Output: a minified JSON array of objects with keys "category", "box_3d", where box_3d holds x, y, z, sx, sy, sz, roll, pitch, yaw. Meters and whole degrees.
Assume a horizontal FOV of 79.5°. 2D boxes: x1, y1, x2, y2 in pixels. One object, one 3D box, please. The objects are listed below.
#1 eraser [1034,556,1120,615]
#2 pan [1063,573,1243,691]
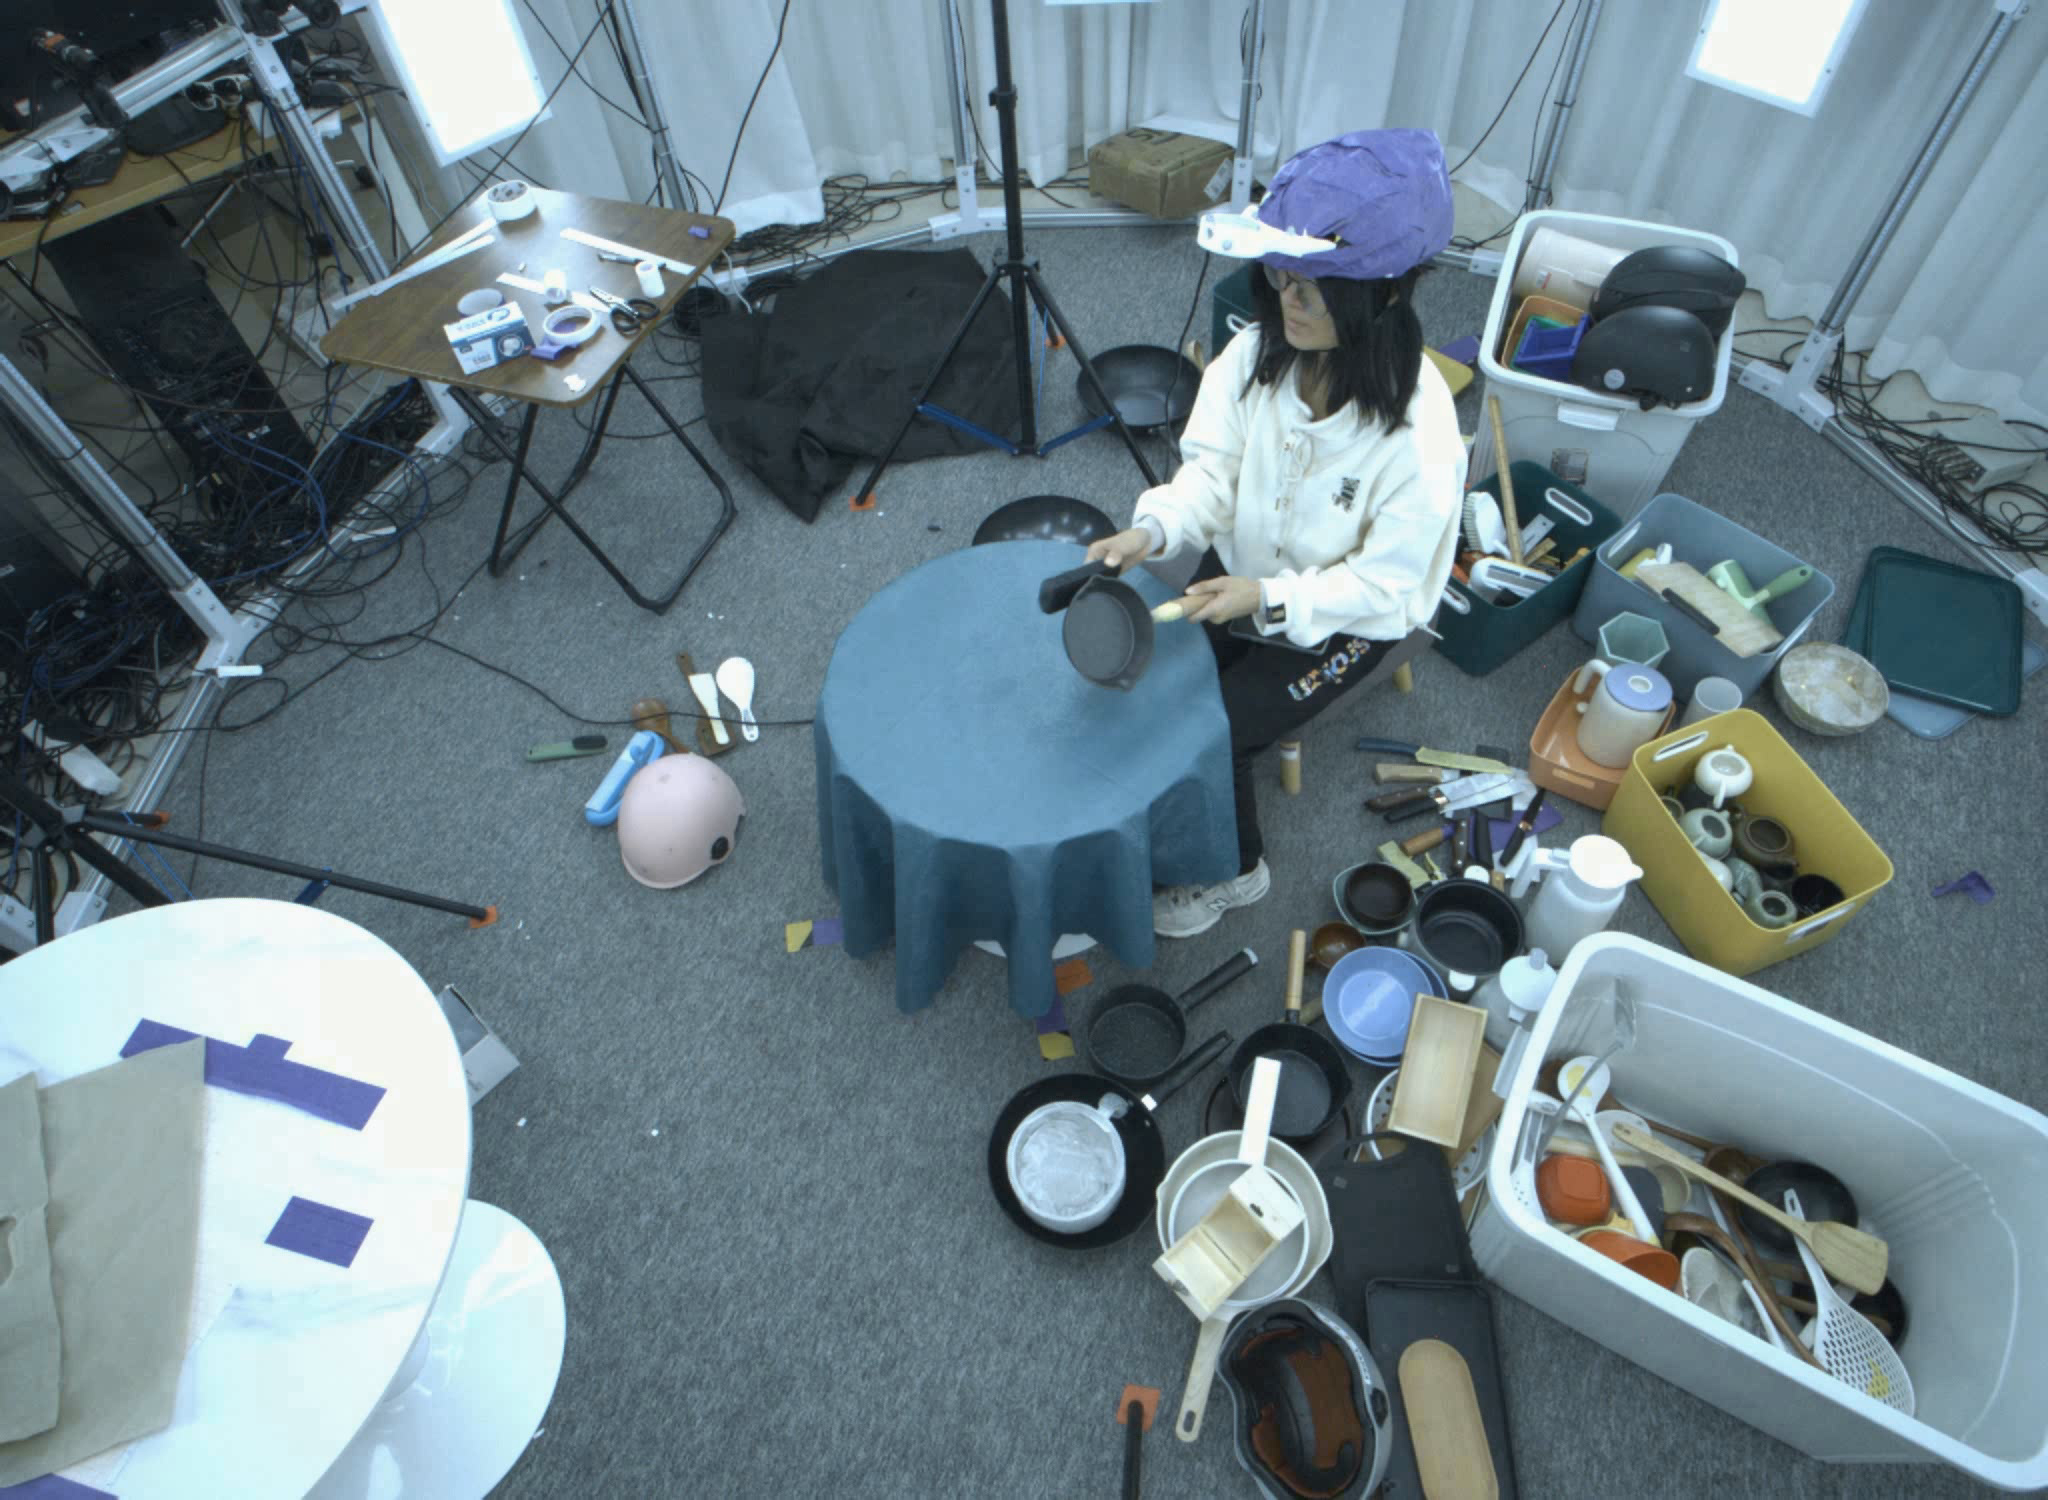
[{"category":"eraser","box_3d":[0.074,-0.230,1.712,0.127,0.053,0.030,-25,67,-33]},{"category":"pan","box_3d":[0.185,-0.189,1.758,0.329,0.170,0.048,-21,11,-33]}]
